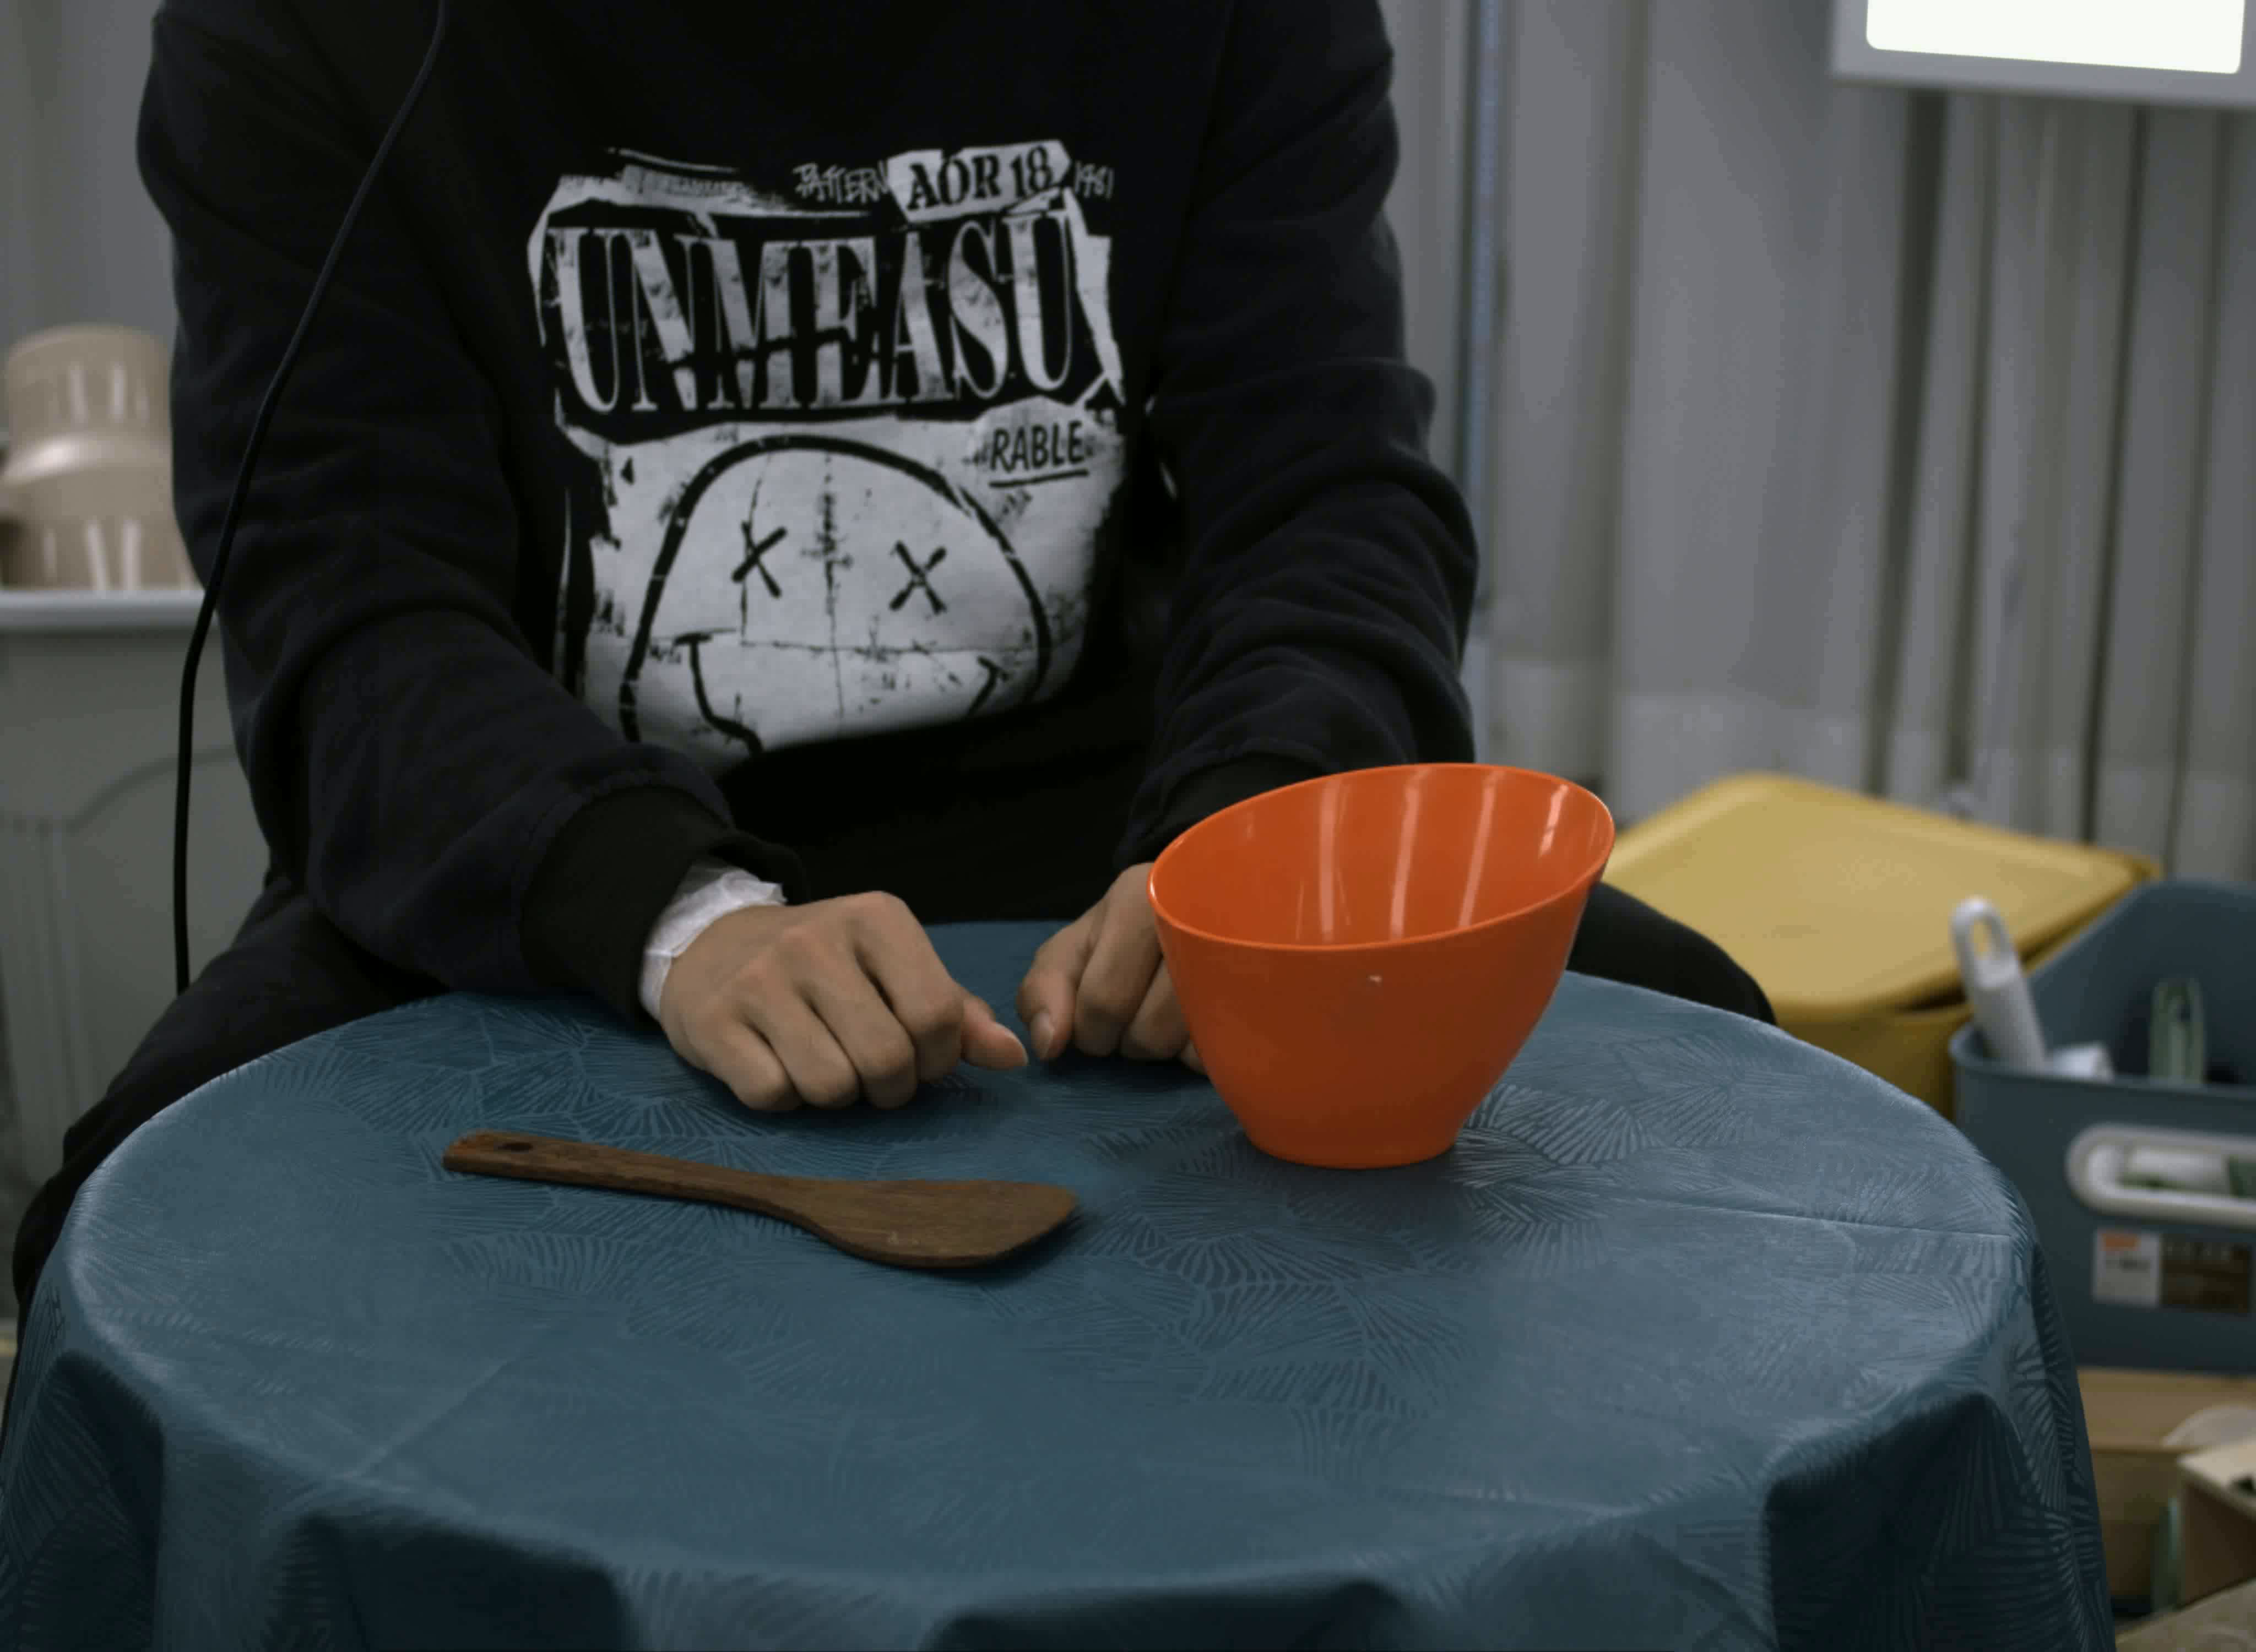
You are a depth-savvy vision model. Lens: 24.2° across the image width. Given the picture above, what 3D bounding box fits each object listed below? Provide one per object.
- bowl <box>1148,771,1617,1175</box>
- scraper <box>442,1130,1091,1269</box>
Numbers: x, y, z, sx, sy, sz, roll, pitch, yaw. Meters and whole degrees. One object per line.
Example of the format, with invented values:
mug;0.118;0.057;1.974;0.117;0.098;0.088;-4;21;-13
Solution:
bowl;0.080;0.049;1.669;0.147;0.105;0.147;1;16;0
scraper;-0.116;0.111;1.612;0.209;0.011;0.076;7;16;23
